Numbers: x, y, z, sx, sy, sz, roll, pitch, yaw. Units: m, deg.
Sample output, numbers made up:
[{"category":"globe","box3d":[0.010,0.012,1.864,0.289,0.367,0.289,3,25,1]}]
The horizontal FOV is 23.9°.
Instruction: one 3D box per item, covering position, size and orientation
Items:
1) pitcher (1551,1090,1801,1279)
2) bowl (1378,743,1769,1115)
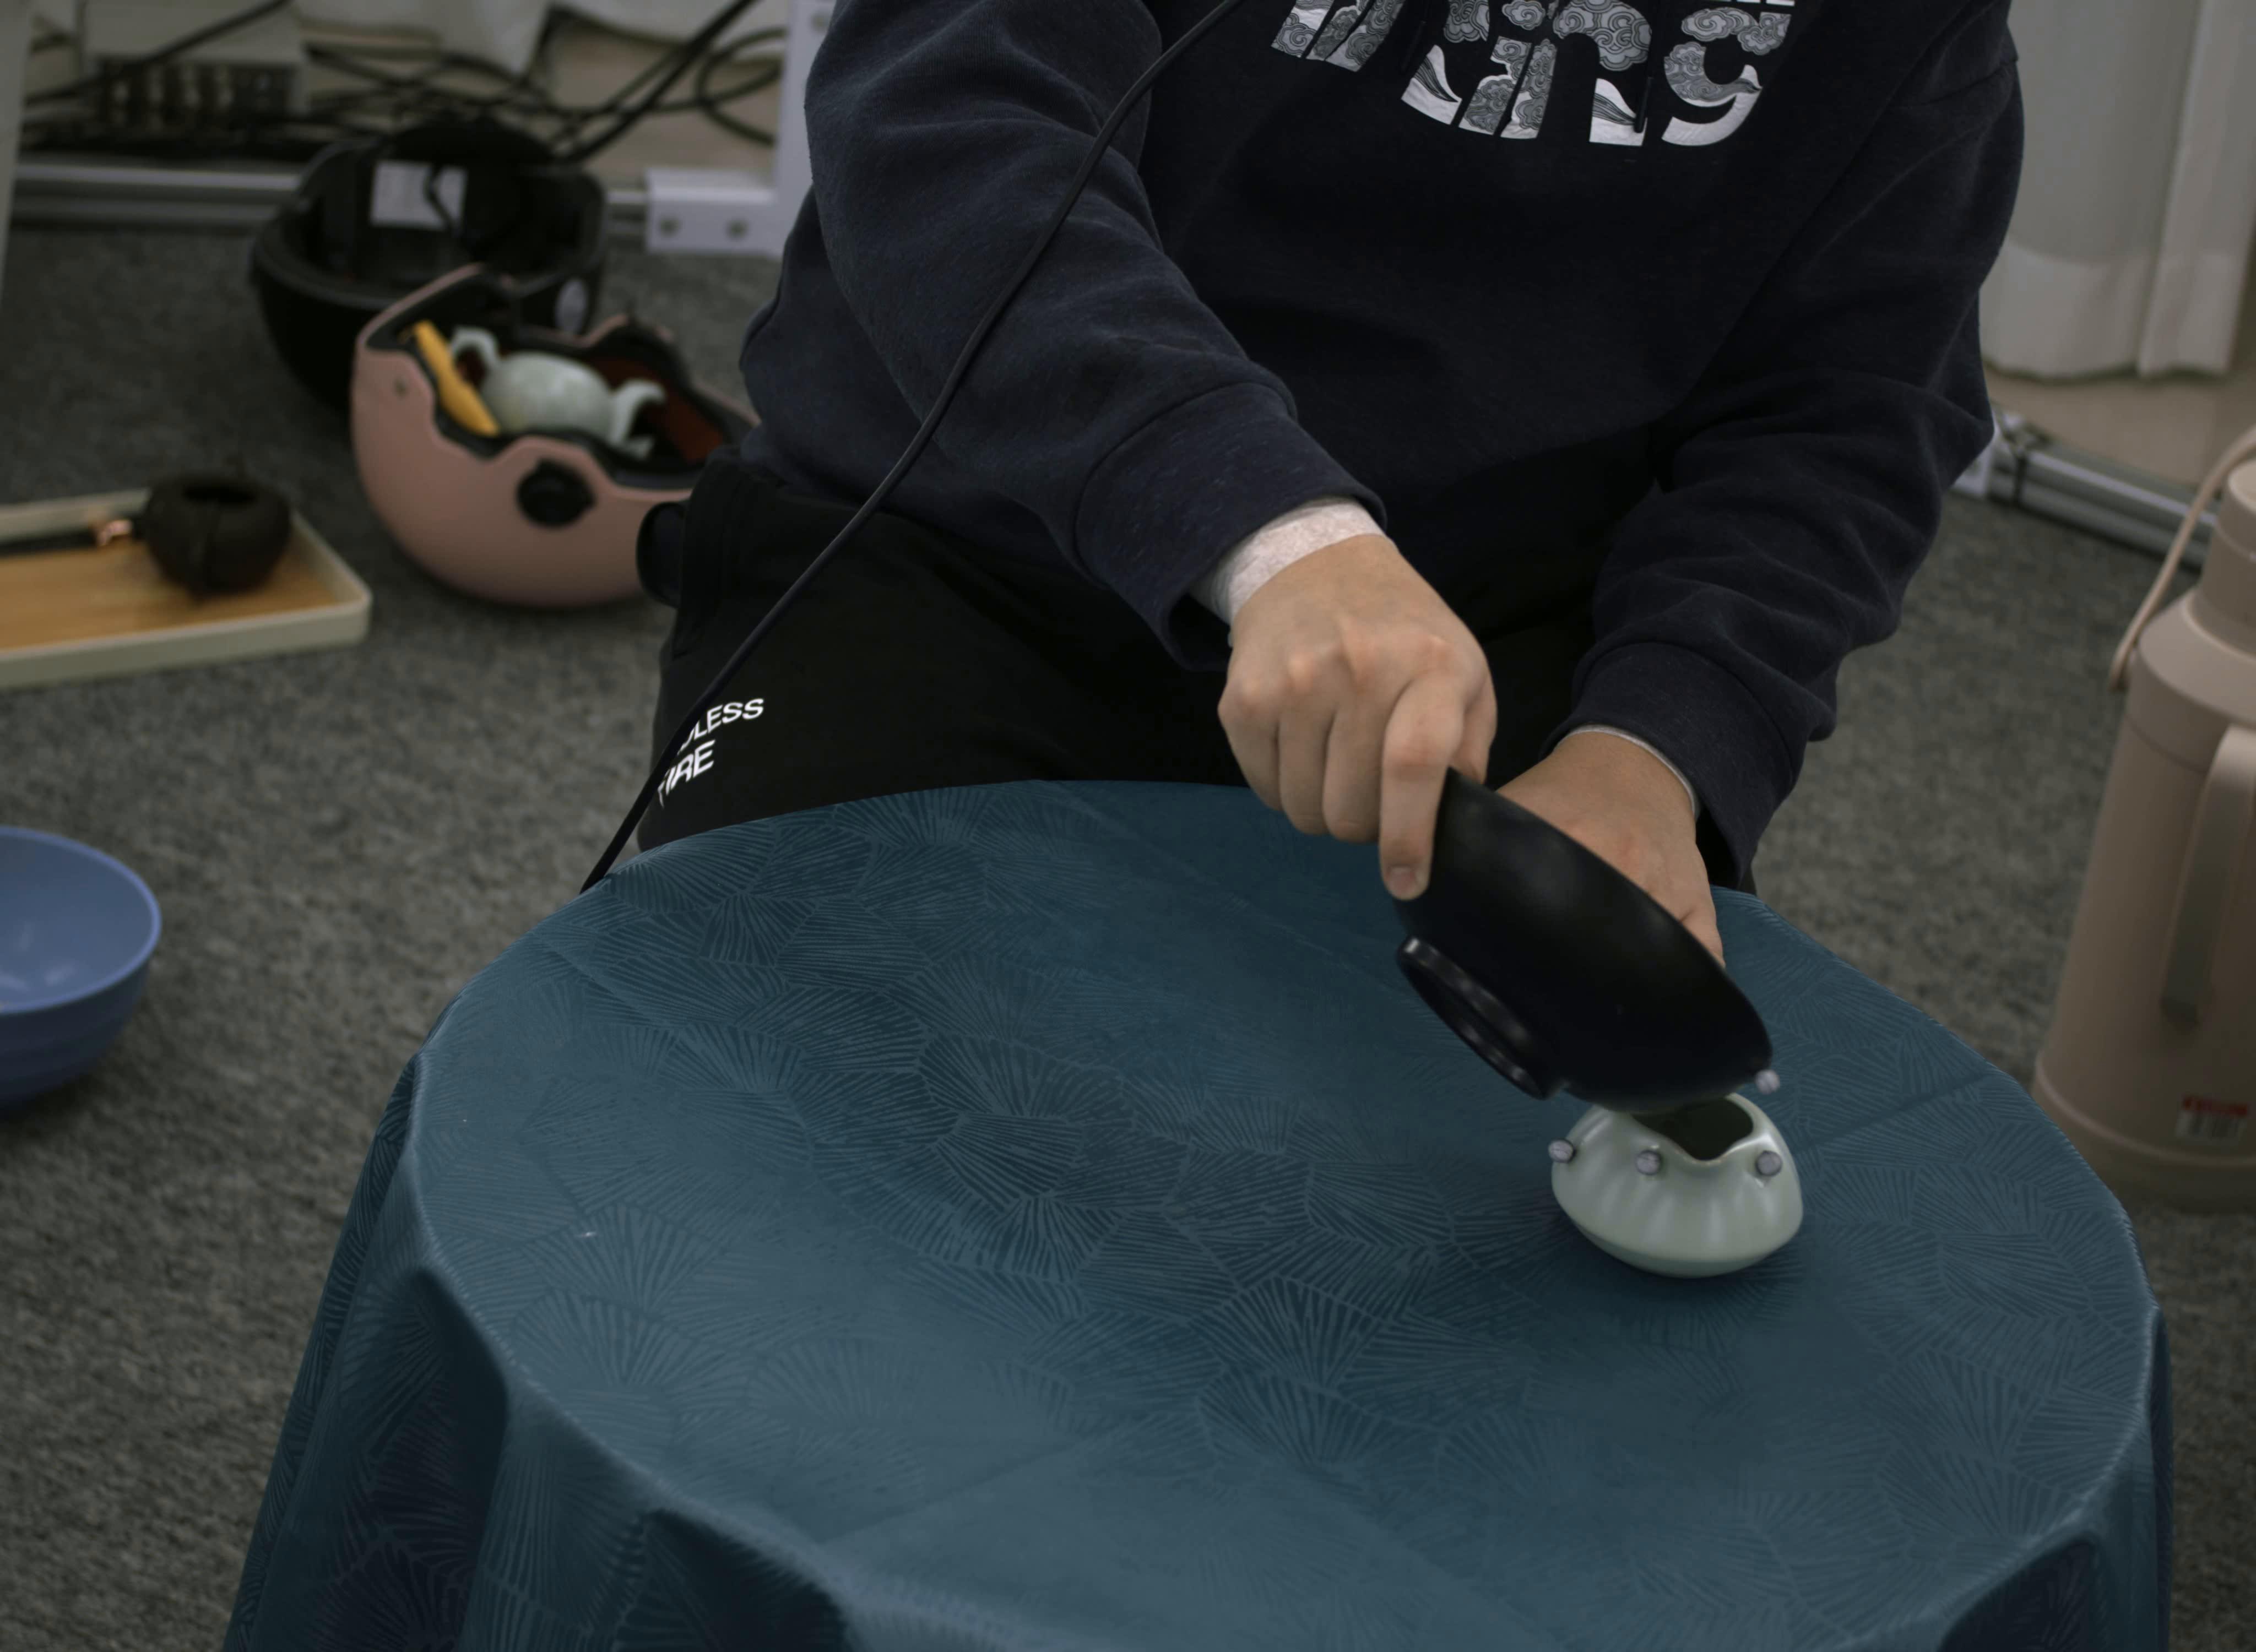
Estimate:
[{"category":"pitcher","box3d":[0.187,0.112,1.813,0.085,0.060,0.108,6,25,-4]},{"category":"bowl","box3d":[0.133,0.045,1.730,0.067,0.169,0.138,-46,37,-6]}]
